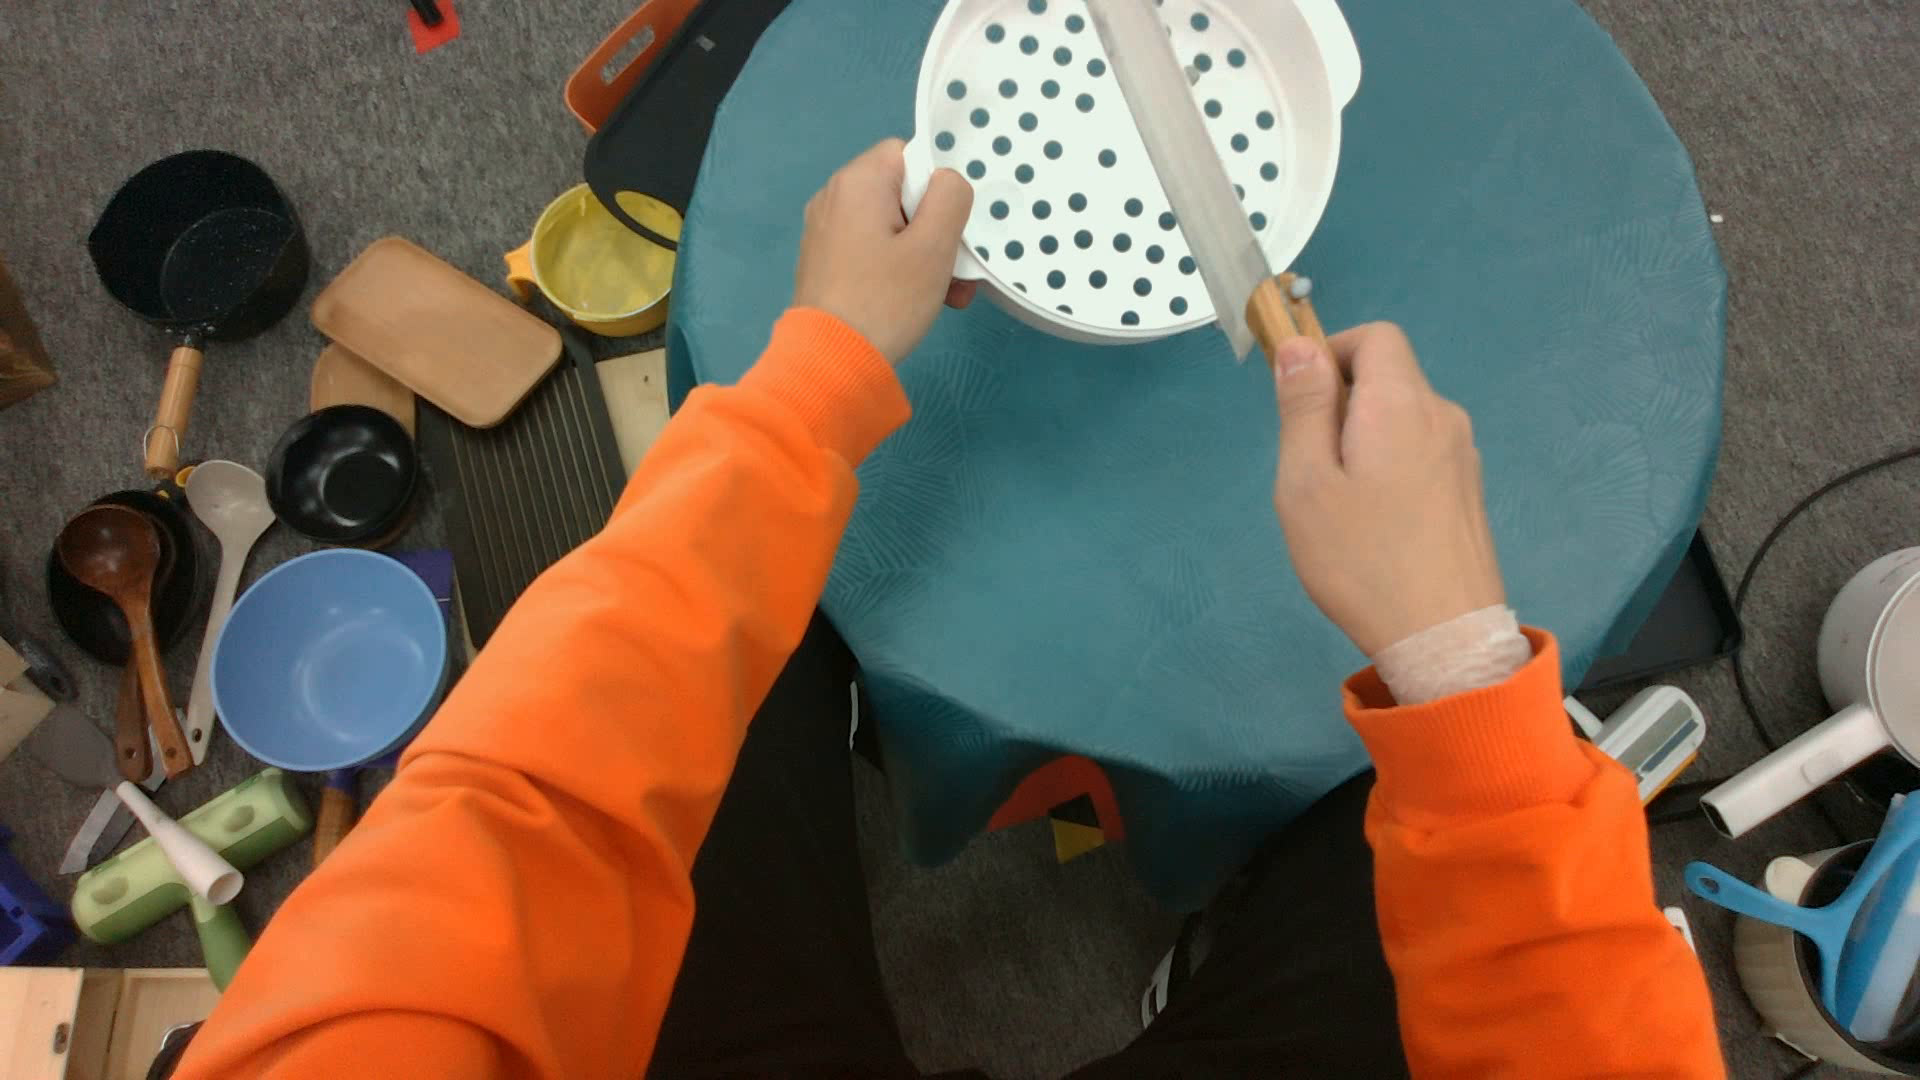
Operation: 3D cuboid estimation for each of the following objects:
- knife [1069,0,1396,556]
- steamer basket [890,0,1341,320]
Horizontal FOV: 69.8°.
[{"bbox_3d":[0.106,-0.129,0.593,0.021,0.093,0.306,-22,79,-2],"label":"knife"},{"bbox_3d":[0.074,-0.210,0.682,0.231,0.069,0.202,-28,90,-7],"label":"steamer basket"}]
